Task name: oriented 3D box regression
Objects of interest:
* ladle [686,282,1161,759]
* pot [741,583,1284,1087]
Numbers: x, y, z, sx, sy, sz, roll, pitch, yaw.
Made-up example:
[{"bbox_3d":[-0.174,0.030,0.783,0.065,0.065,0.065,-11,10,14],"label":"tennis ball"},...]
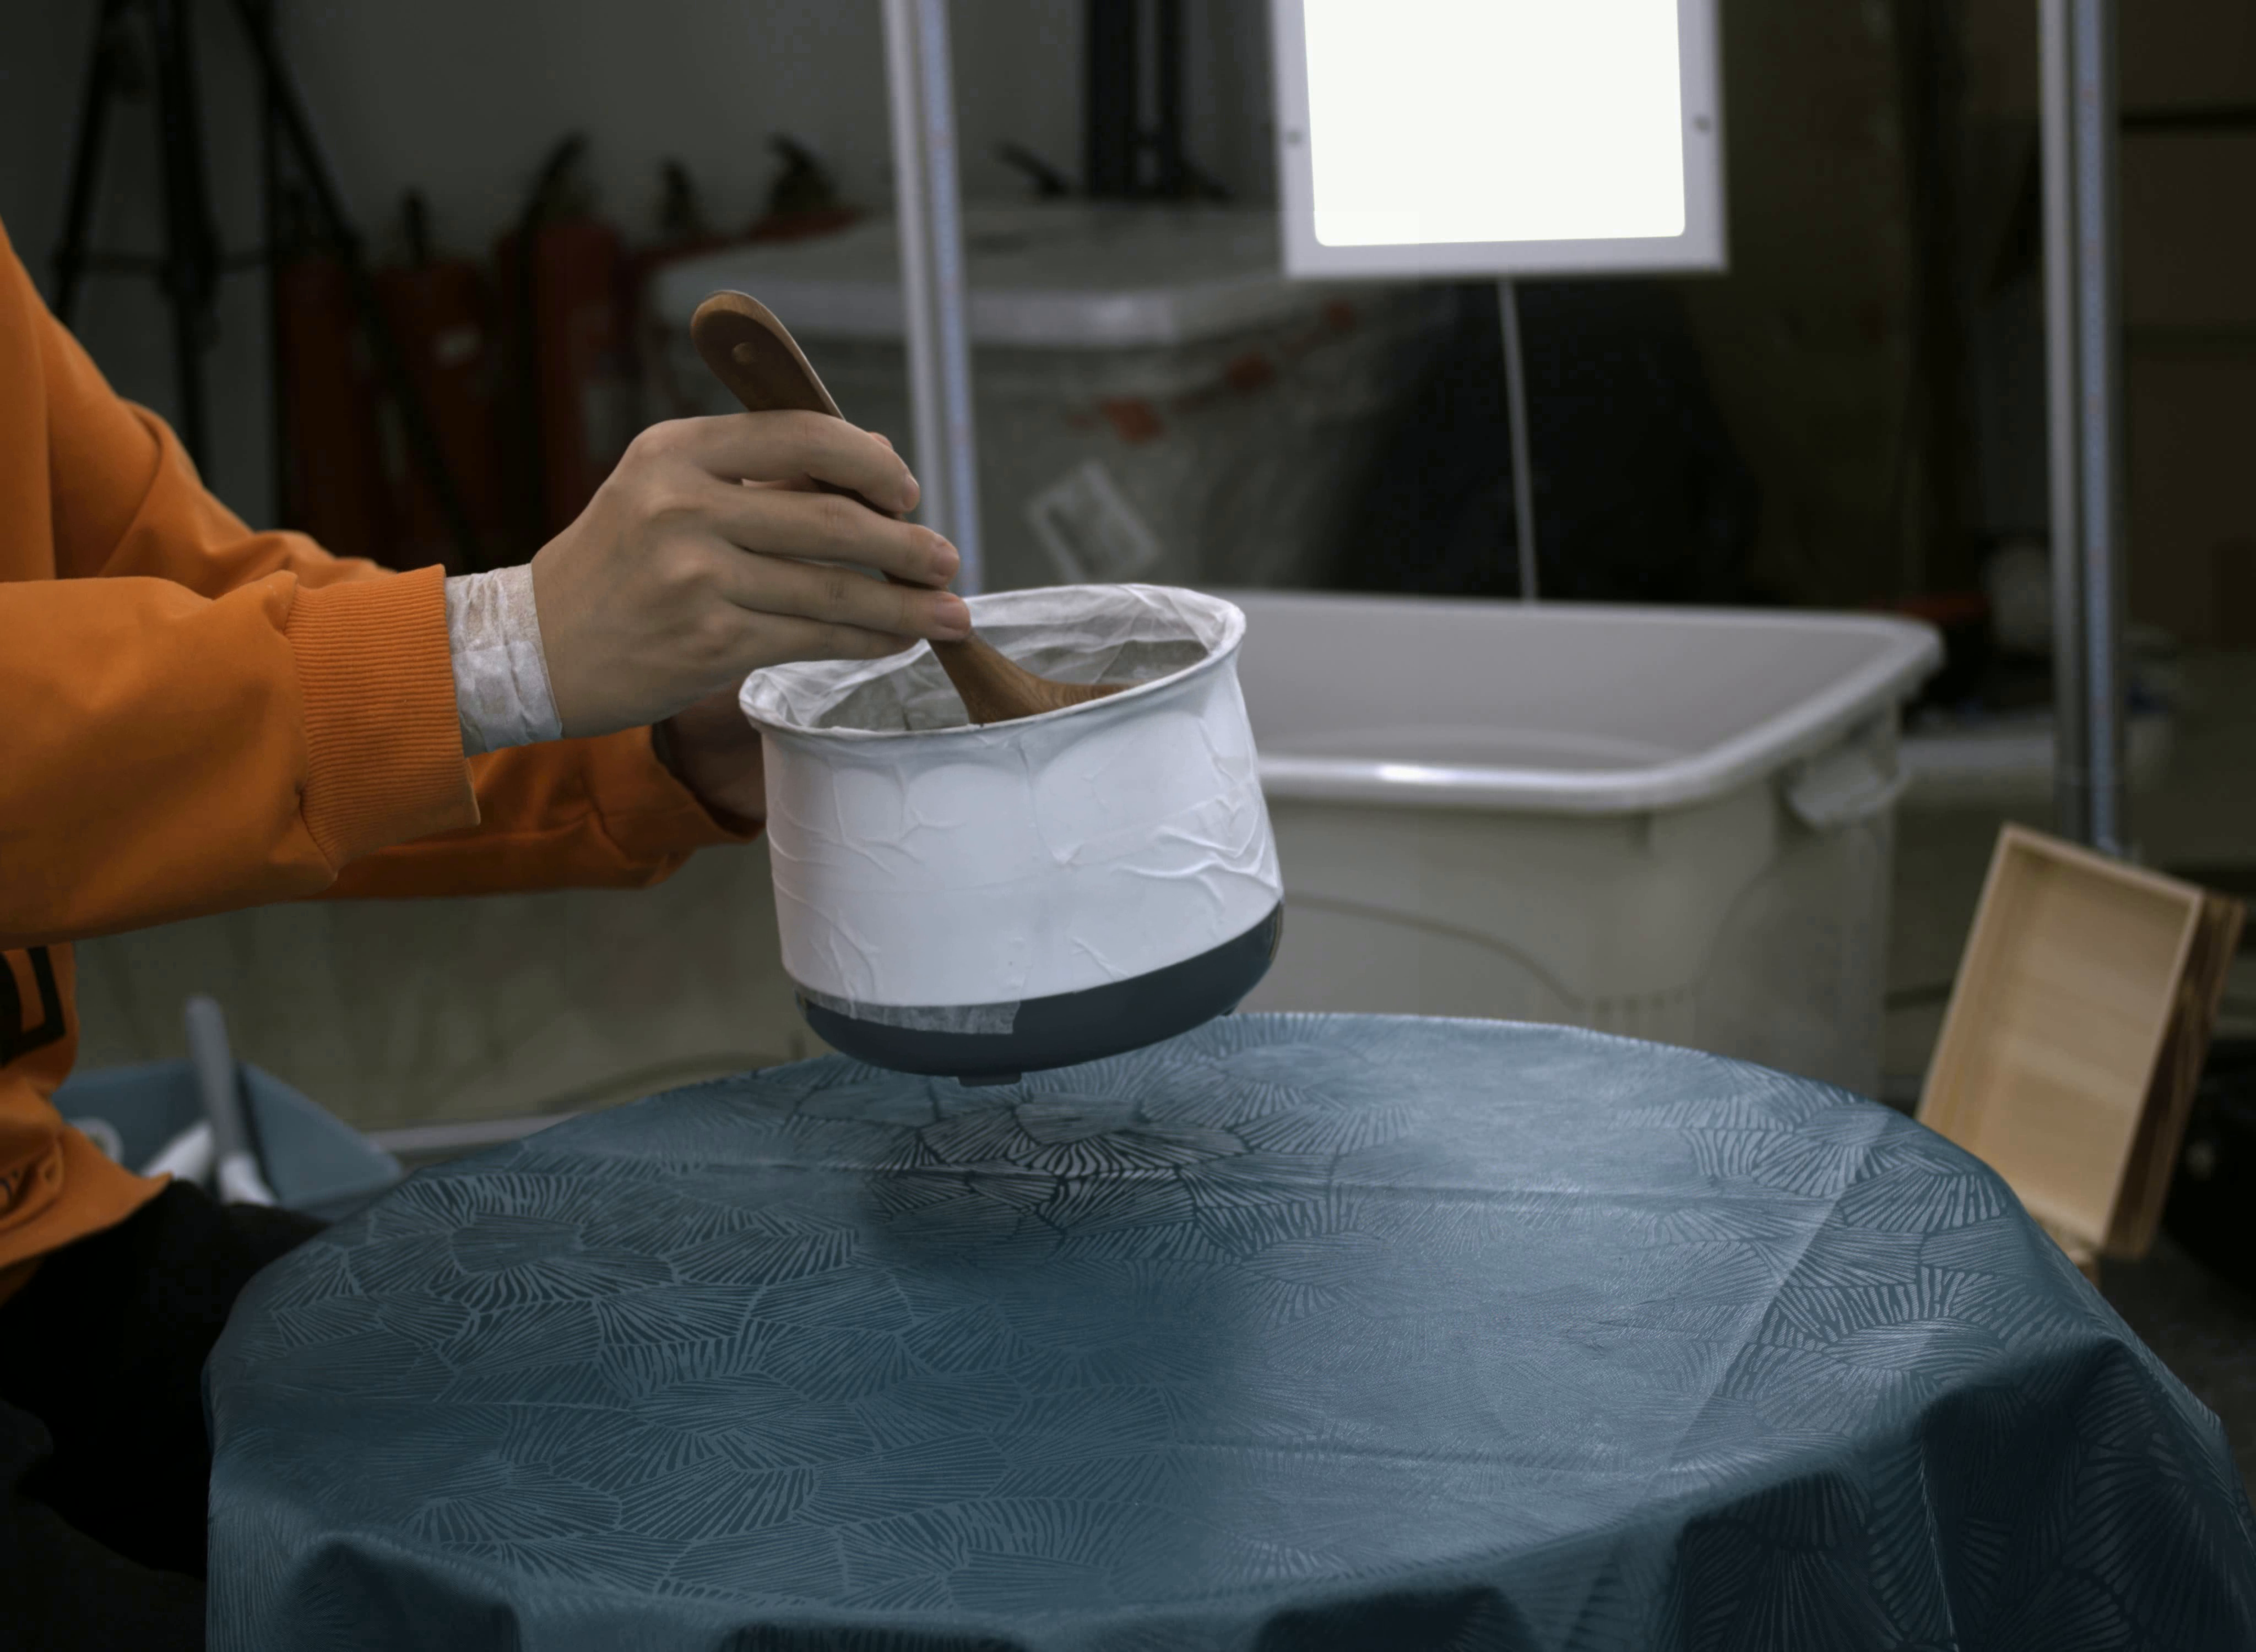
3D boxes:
[{"bbox_3d":[-0.070,-0.093,1.817,0.077,0.258,0.065,-31,31,11],"label":"ladle"},{"bbox_3d":[-0.052,-0.003,1.932,0.175,0.137,0.238,-17,18,-26],"label":"pot"}]
